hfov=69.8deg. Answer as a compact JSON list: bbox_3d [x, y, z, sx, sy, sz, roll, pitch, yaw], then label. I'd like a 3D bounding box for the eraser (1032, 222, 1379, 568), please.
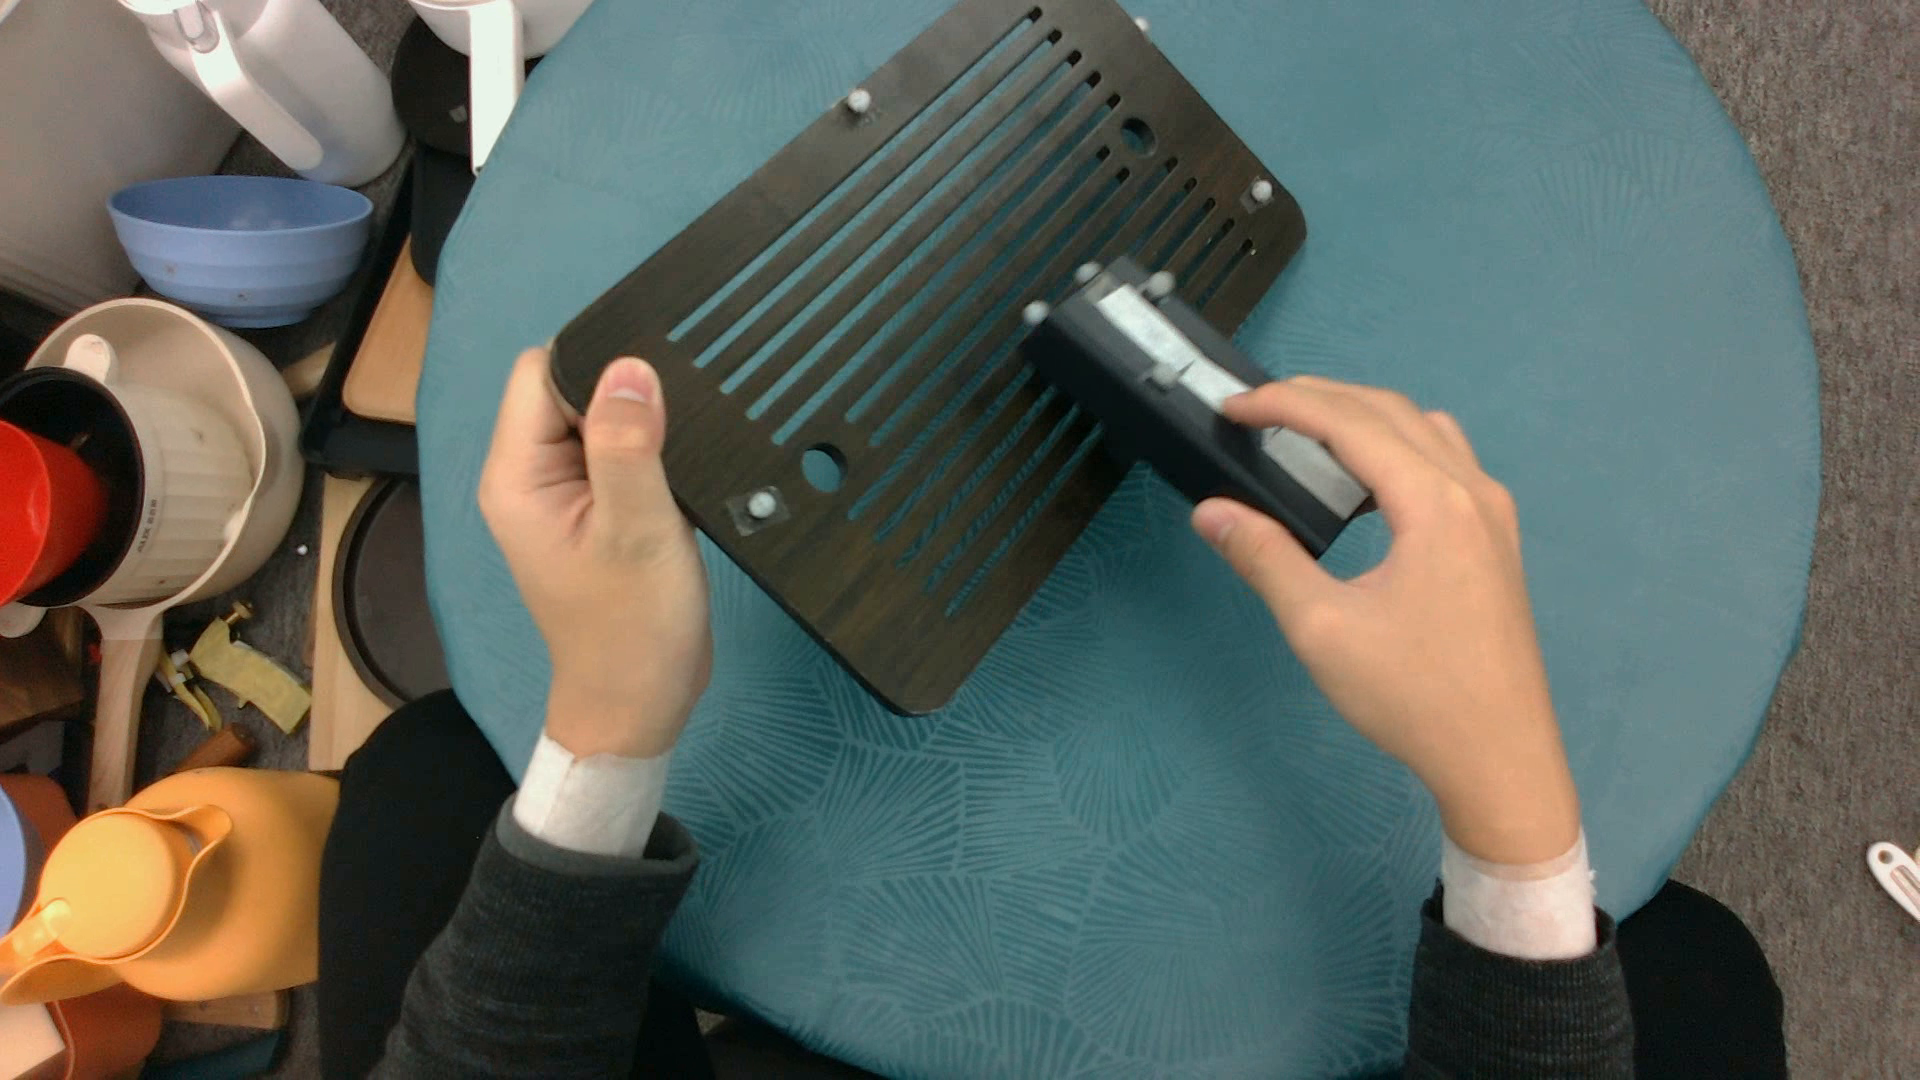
[{"bbox_3d":[0.086,-0.051,0.483,0.125,0.030,0.054,45,58,3],"label":"eraser"}]

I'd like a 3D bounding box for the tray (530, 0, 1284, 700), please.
[{"bbox_3d":[0.002,-0.101,0.512,0.170,0.018,0.307,45,57,-9],"label":"tray"}]
